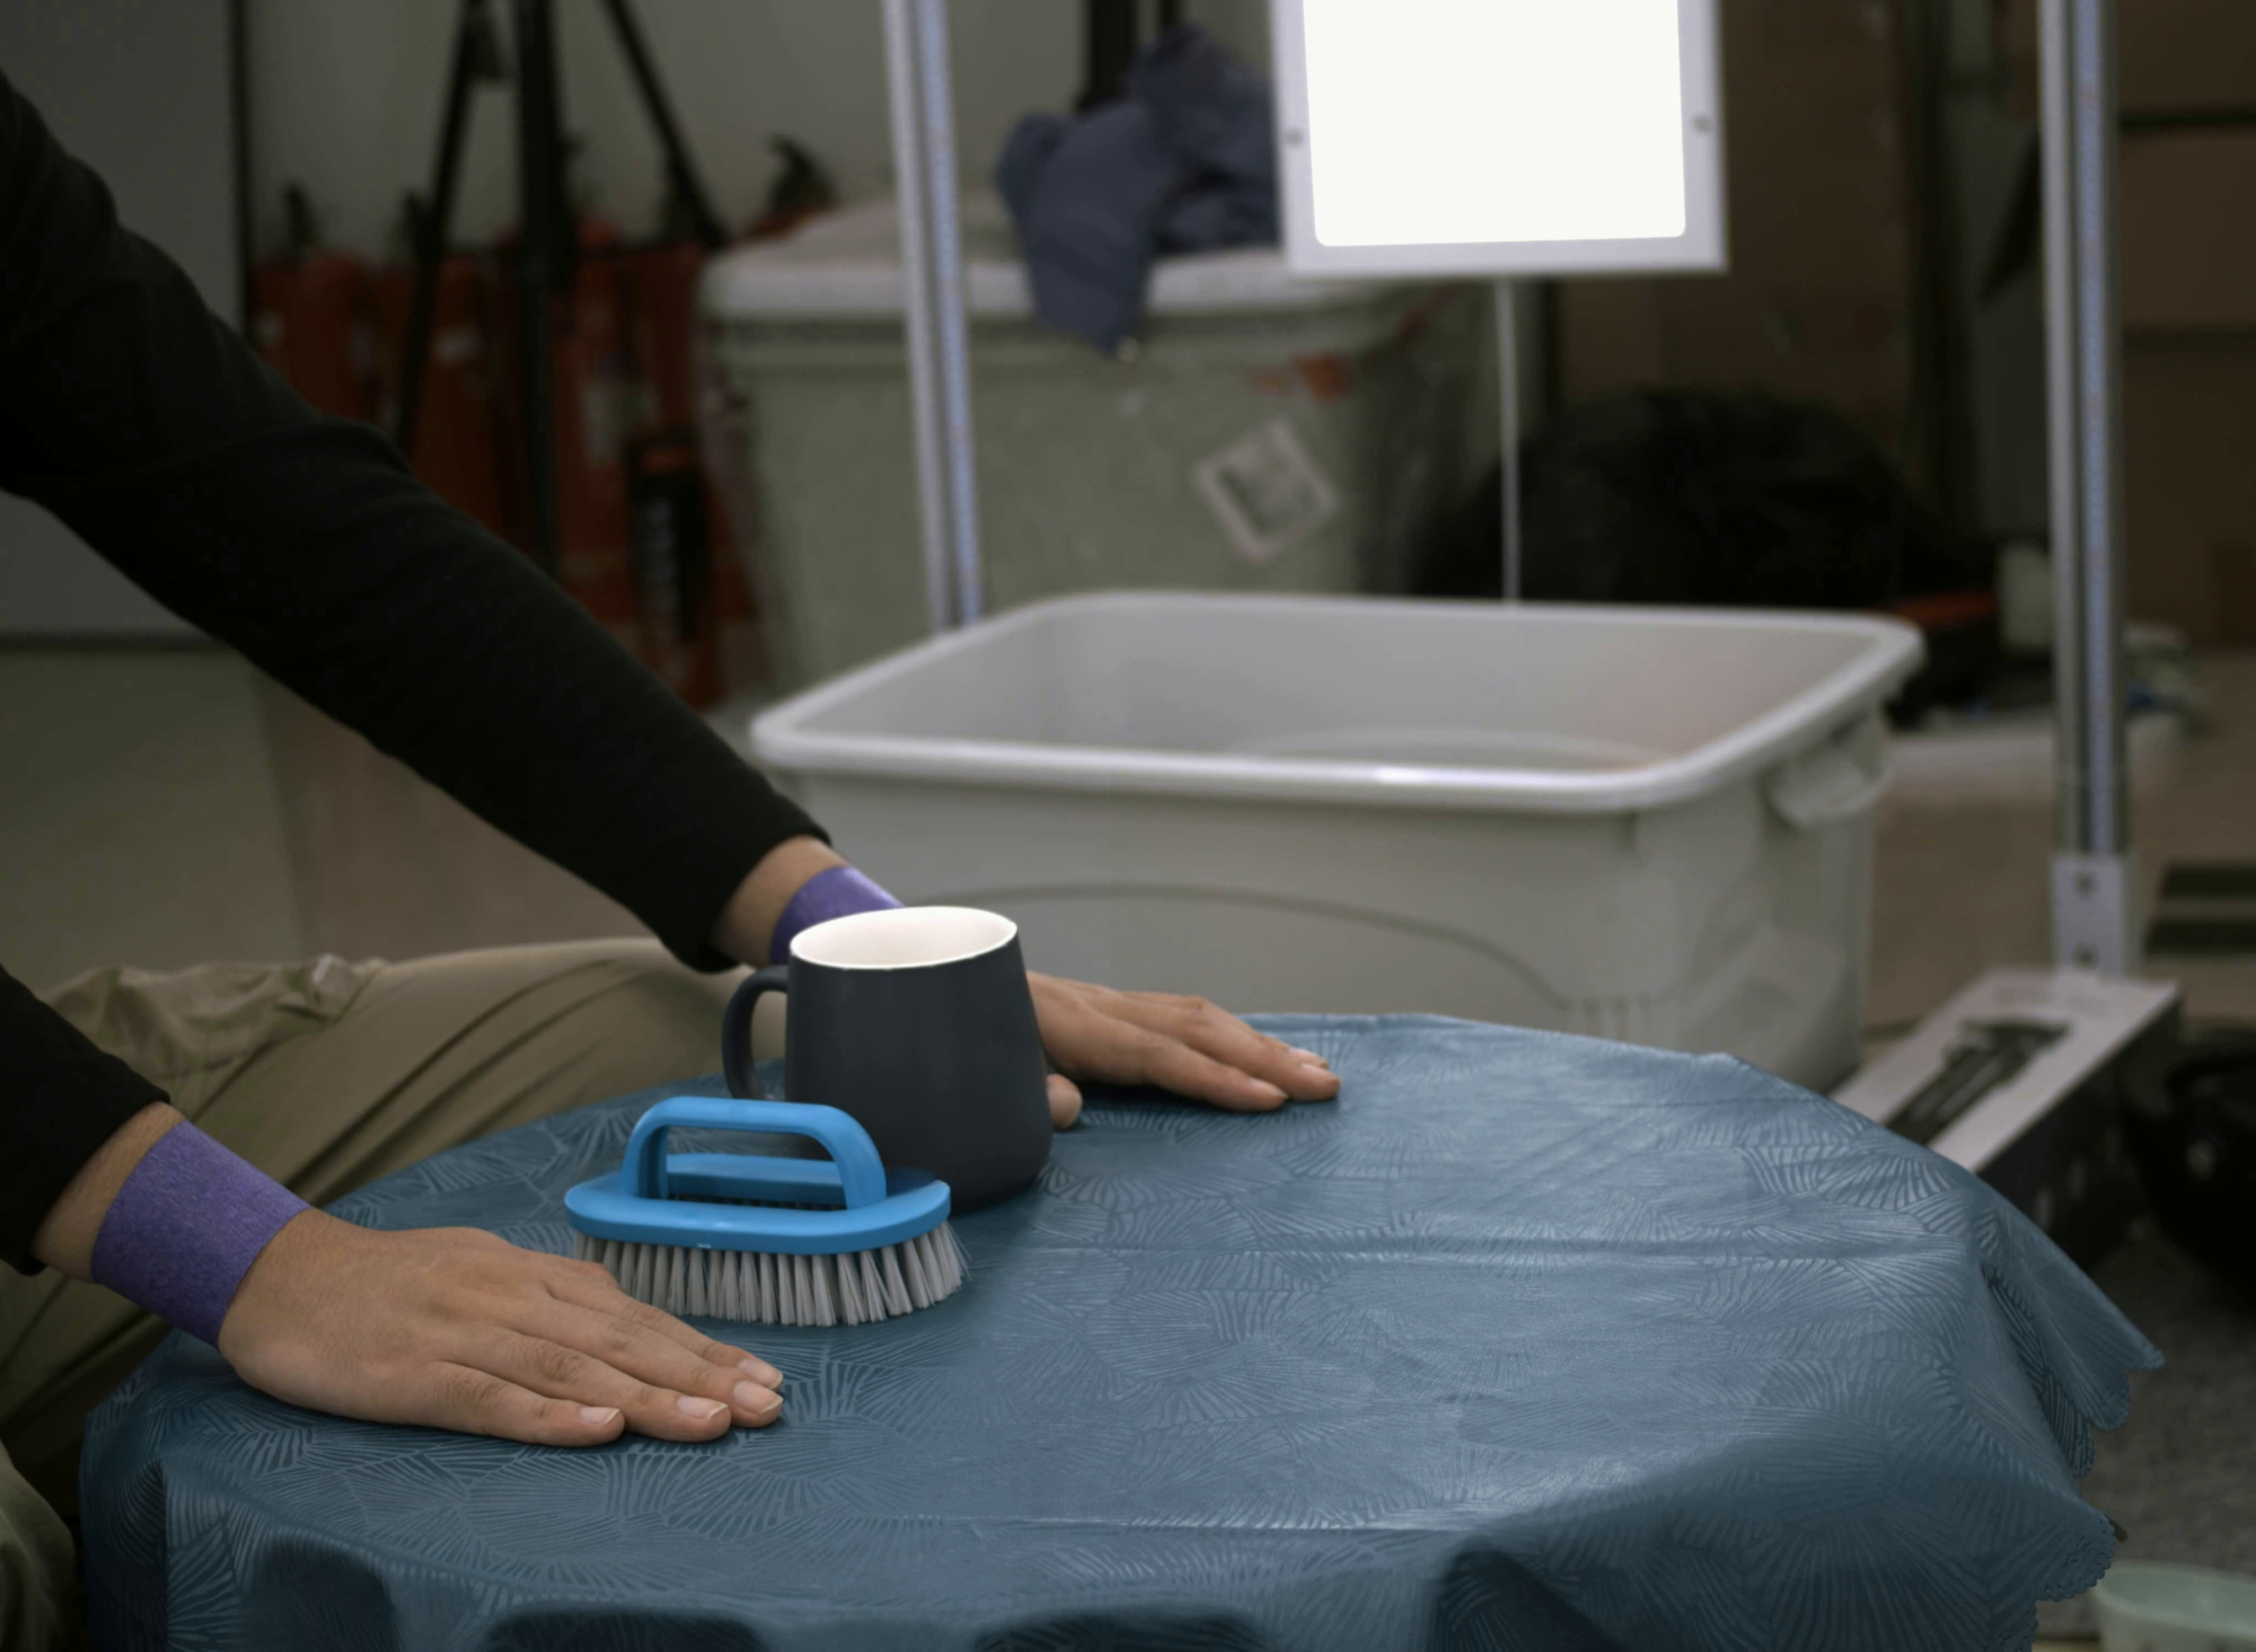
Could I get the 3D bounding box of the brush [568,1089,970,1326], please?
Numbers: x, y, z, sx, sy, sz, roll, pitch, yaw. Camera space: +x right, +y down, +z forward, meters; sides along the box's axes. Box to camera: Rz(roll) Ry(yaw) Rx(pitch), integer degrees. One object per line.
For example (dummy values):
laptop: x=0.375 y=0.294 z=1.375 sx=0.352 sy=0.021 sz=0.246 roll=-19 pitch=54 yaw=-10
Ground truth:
brush: x=-0.124 y=0.120 z=1.831 sx=0.144 sy=0.064 sz=0.082 roll=2 pitch=20 yaw=29

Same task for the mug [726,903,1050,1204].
mug: x=-0.088 y=0.078 z=1.925 sx=0.125 sy=0.090 sz=0.091 roll=6 pitch=17 yaw=32
